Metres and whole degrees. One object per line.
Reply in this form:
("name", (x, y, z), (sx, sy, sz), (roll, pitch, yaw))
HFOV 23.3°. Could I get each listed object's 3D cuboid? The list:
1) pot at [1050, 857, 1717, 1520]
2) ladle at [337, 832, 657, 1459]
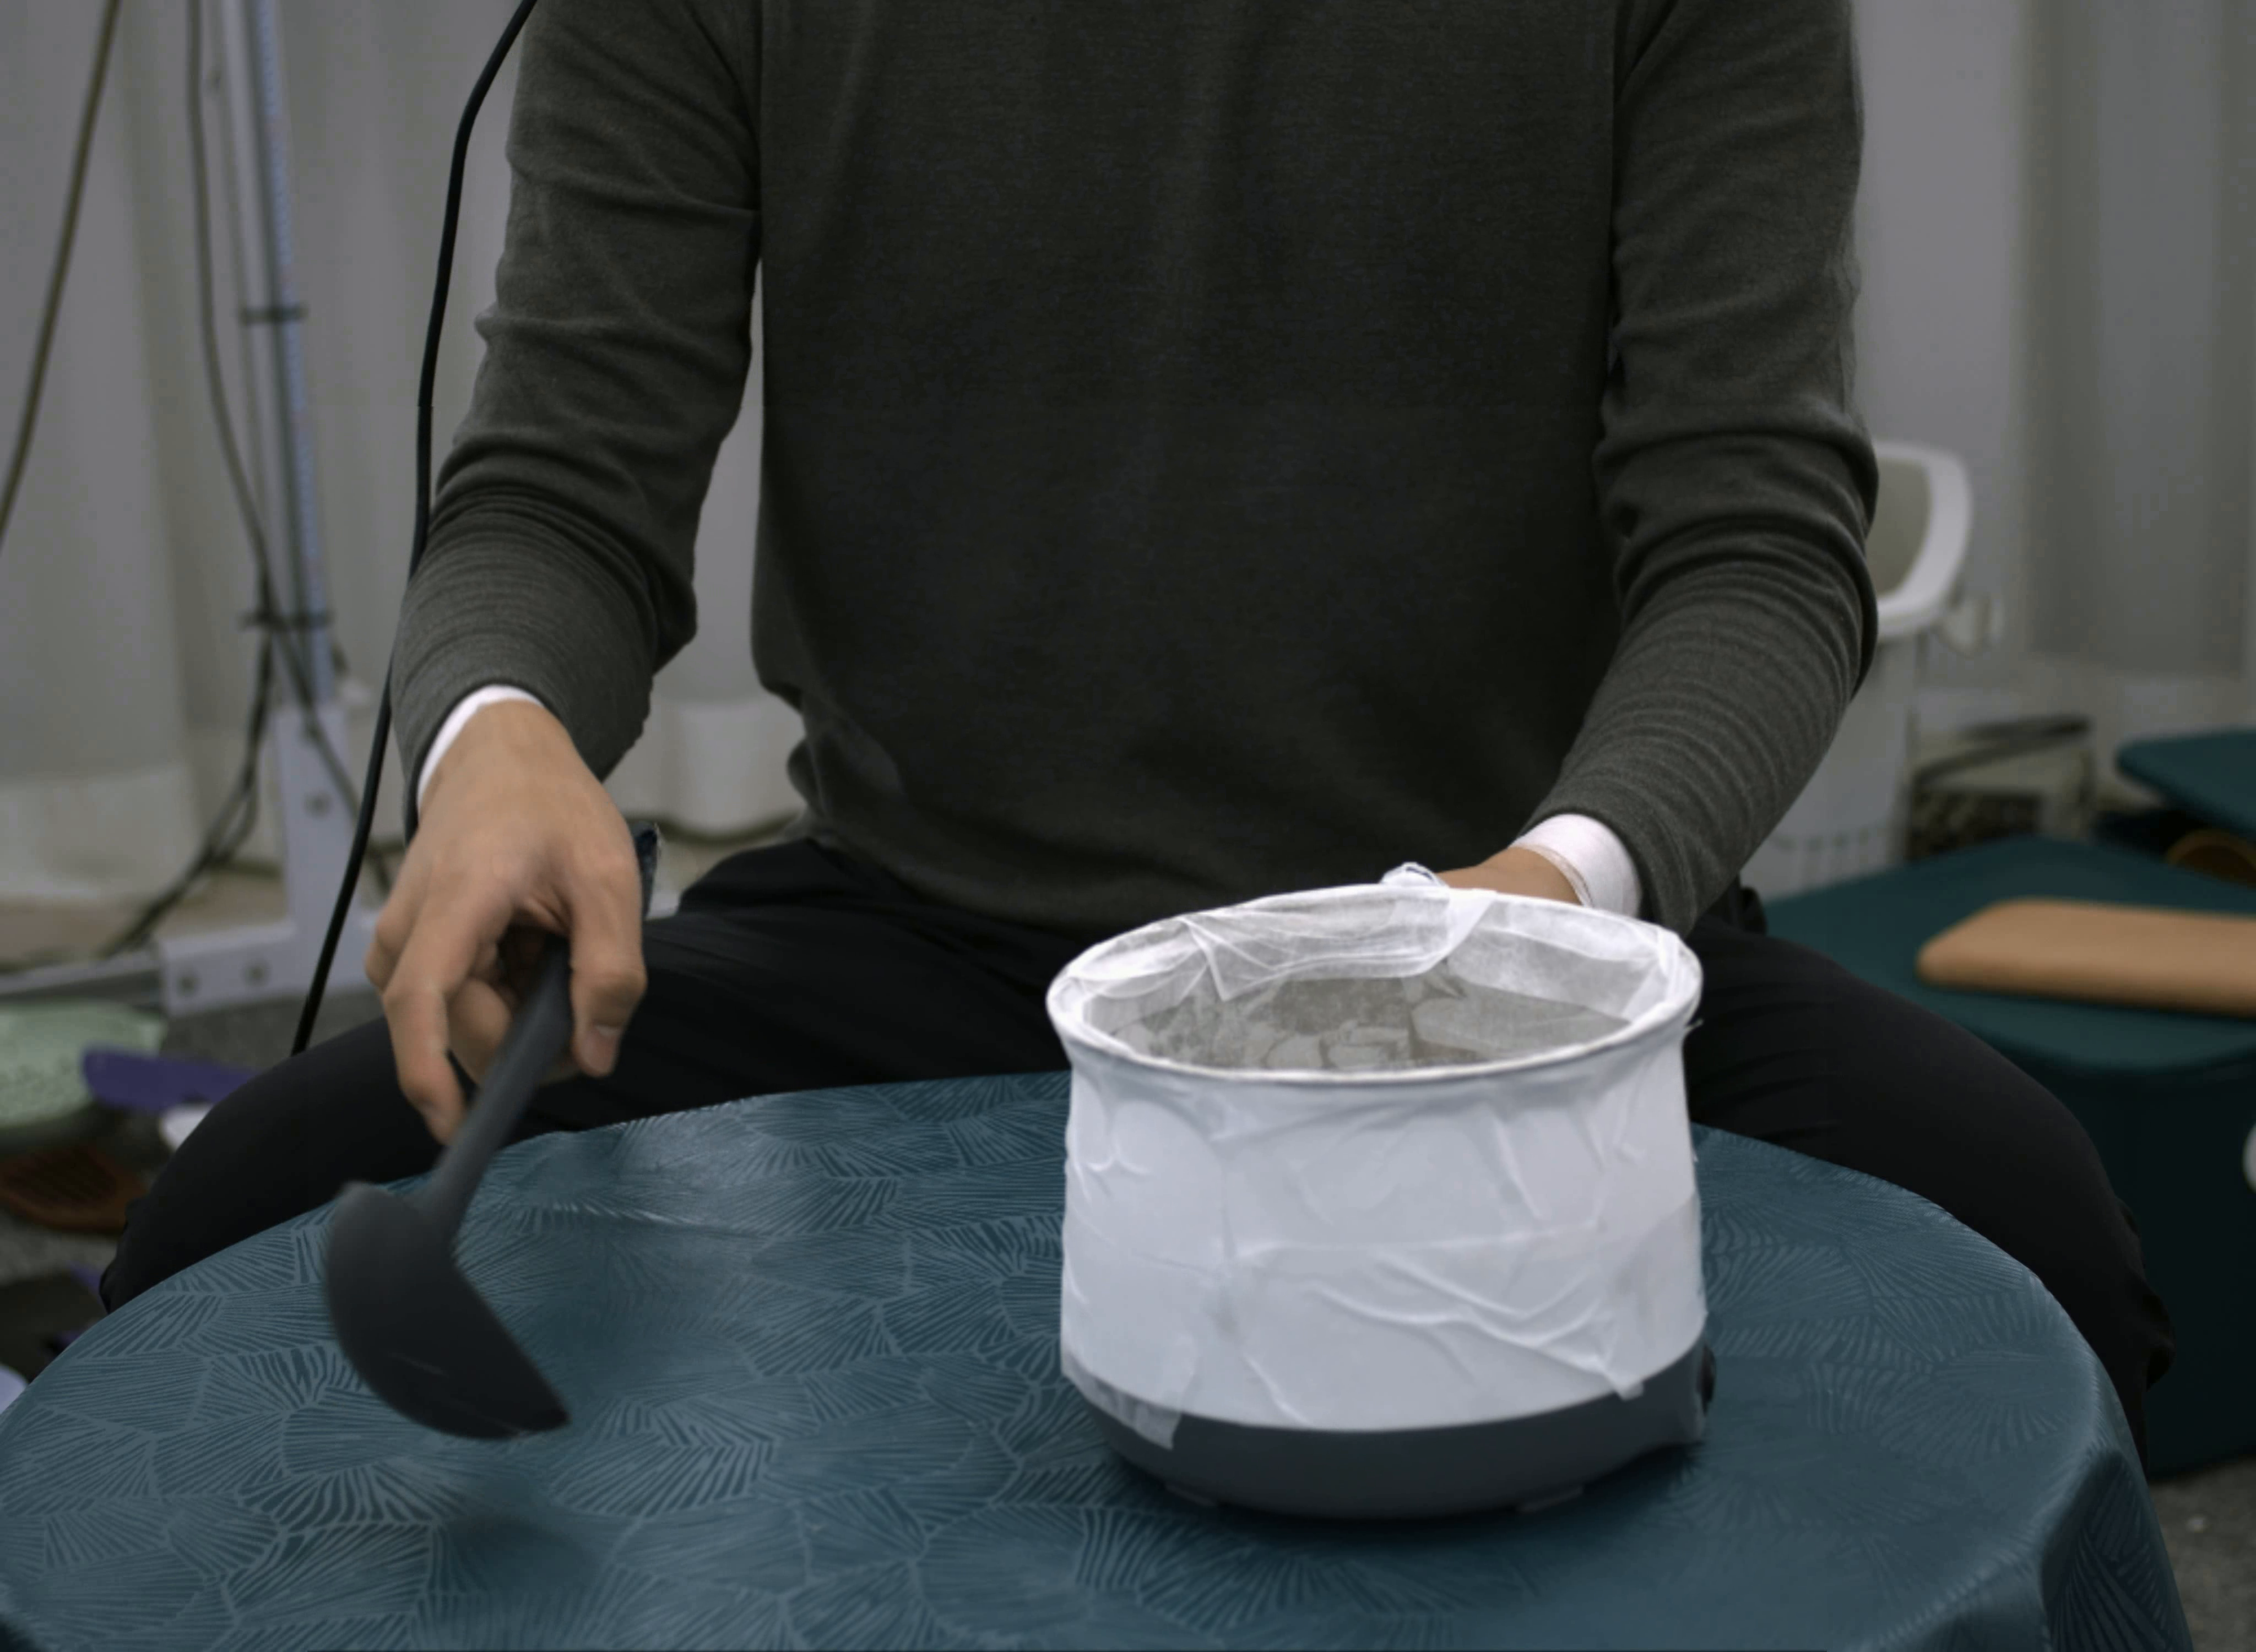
("pot", (0.073, 0.094, 1.512), (0.178, 0.136, 0.235), (0, 15, 8))
("ladle", (-0.159, 0.073, 1.562), (0.064, 0.085, 0.317), (-22, 22, 21))
